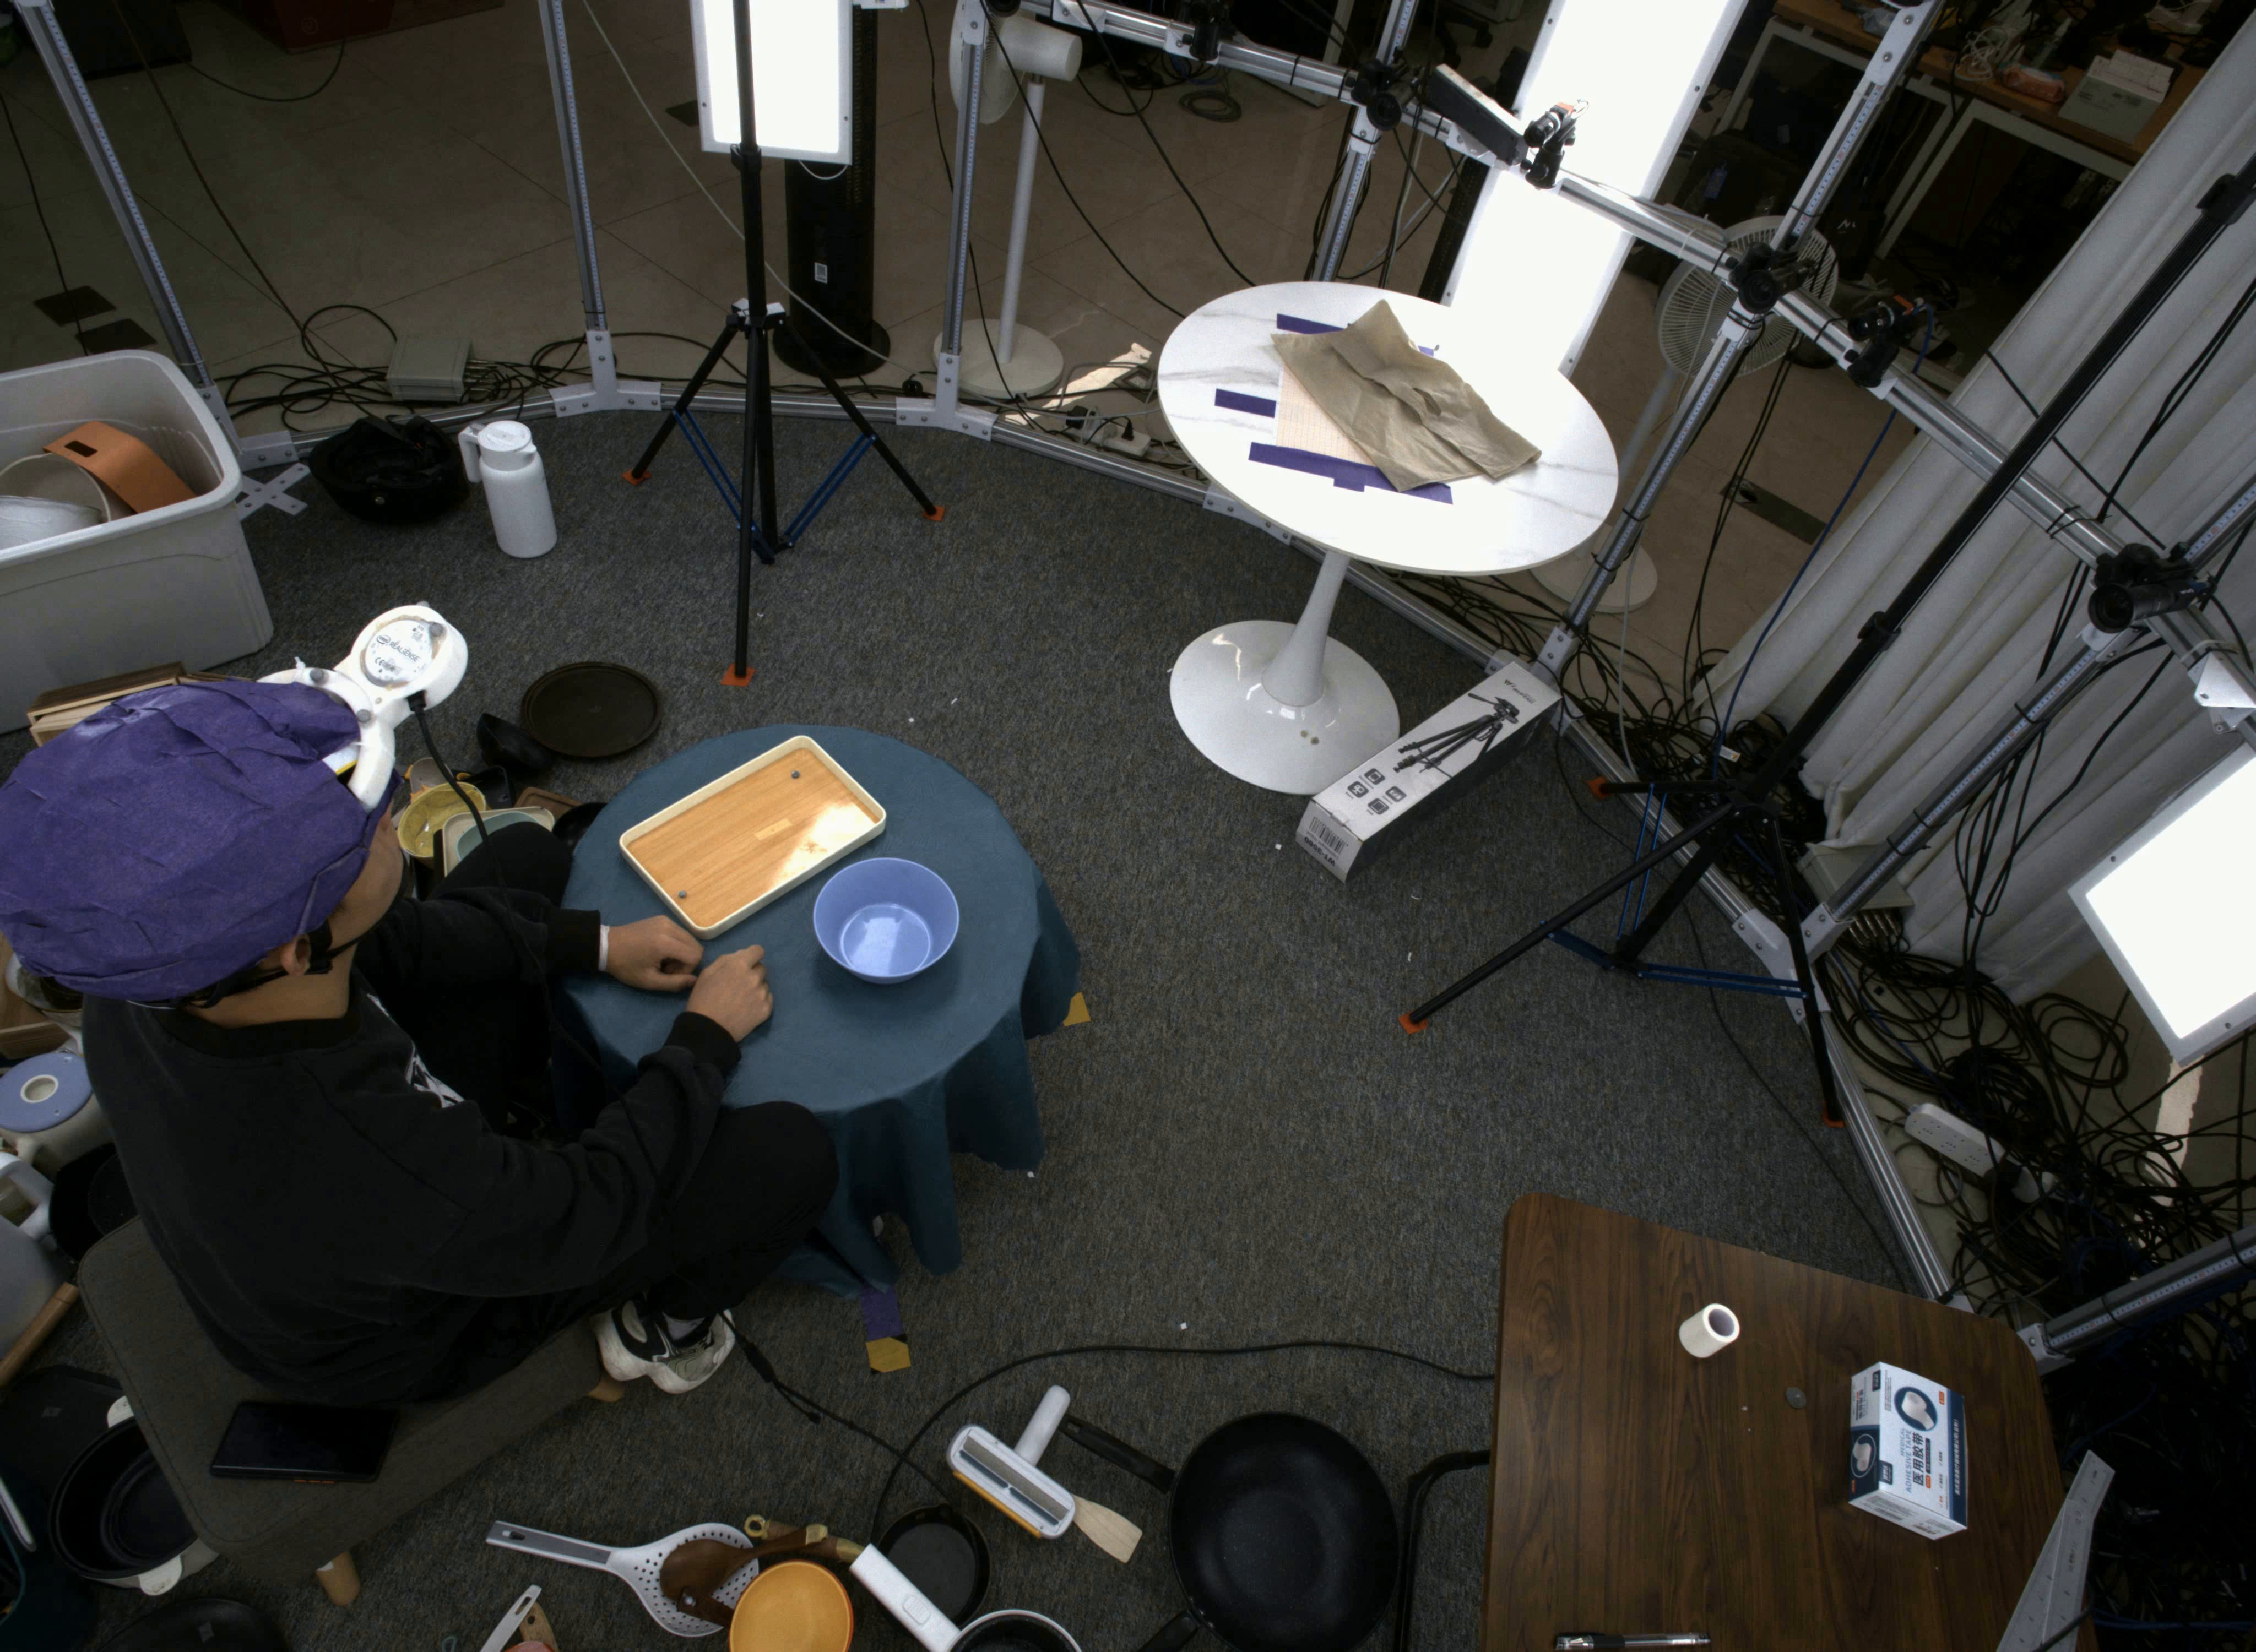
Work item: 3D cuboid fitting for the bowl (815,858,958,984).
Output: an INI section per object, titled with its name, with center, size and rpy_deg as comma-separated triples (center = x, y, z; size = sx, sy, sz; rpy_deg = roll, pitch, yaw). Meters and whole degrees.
[bowl]
center = -0.301, 0.128, 1.620
size = 0.176, 0.072, 0.173
rpy_deg = 8, 51, -8

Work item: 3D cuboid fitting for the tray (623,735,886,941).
[tray]
center = -0.485, 0.008, 1.690
size = 0.187, 0.028, 0.301
rpy_deg = 42, 55, 18
